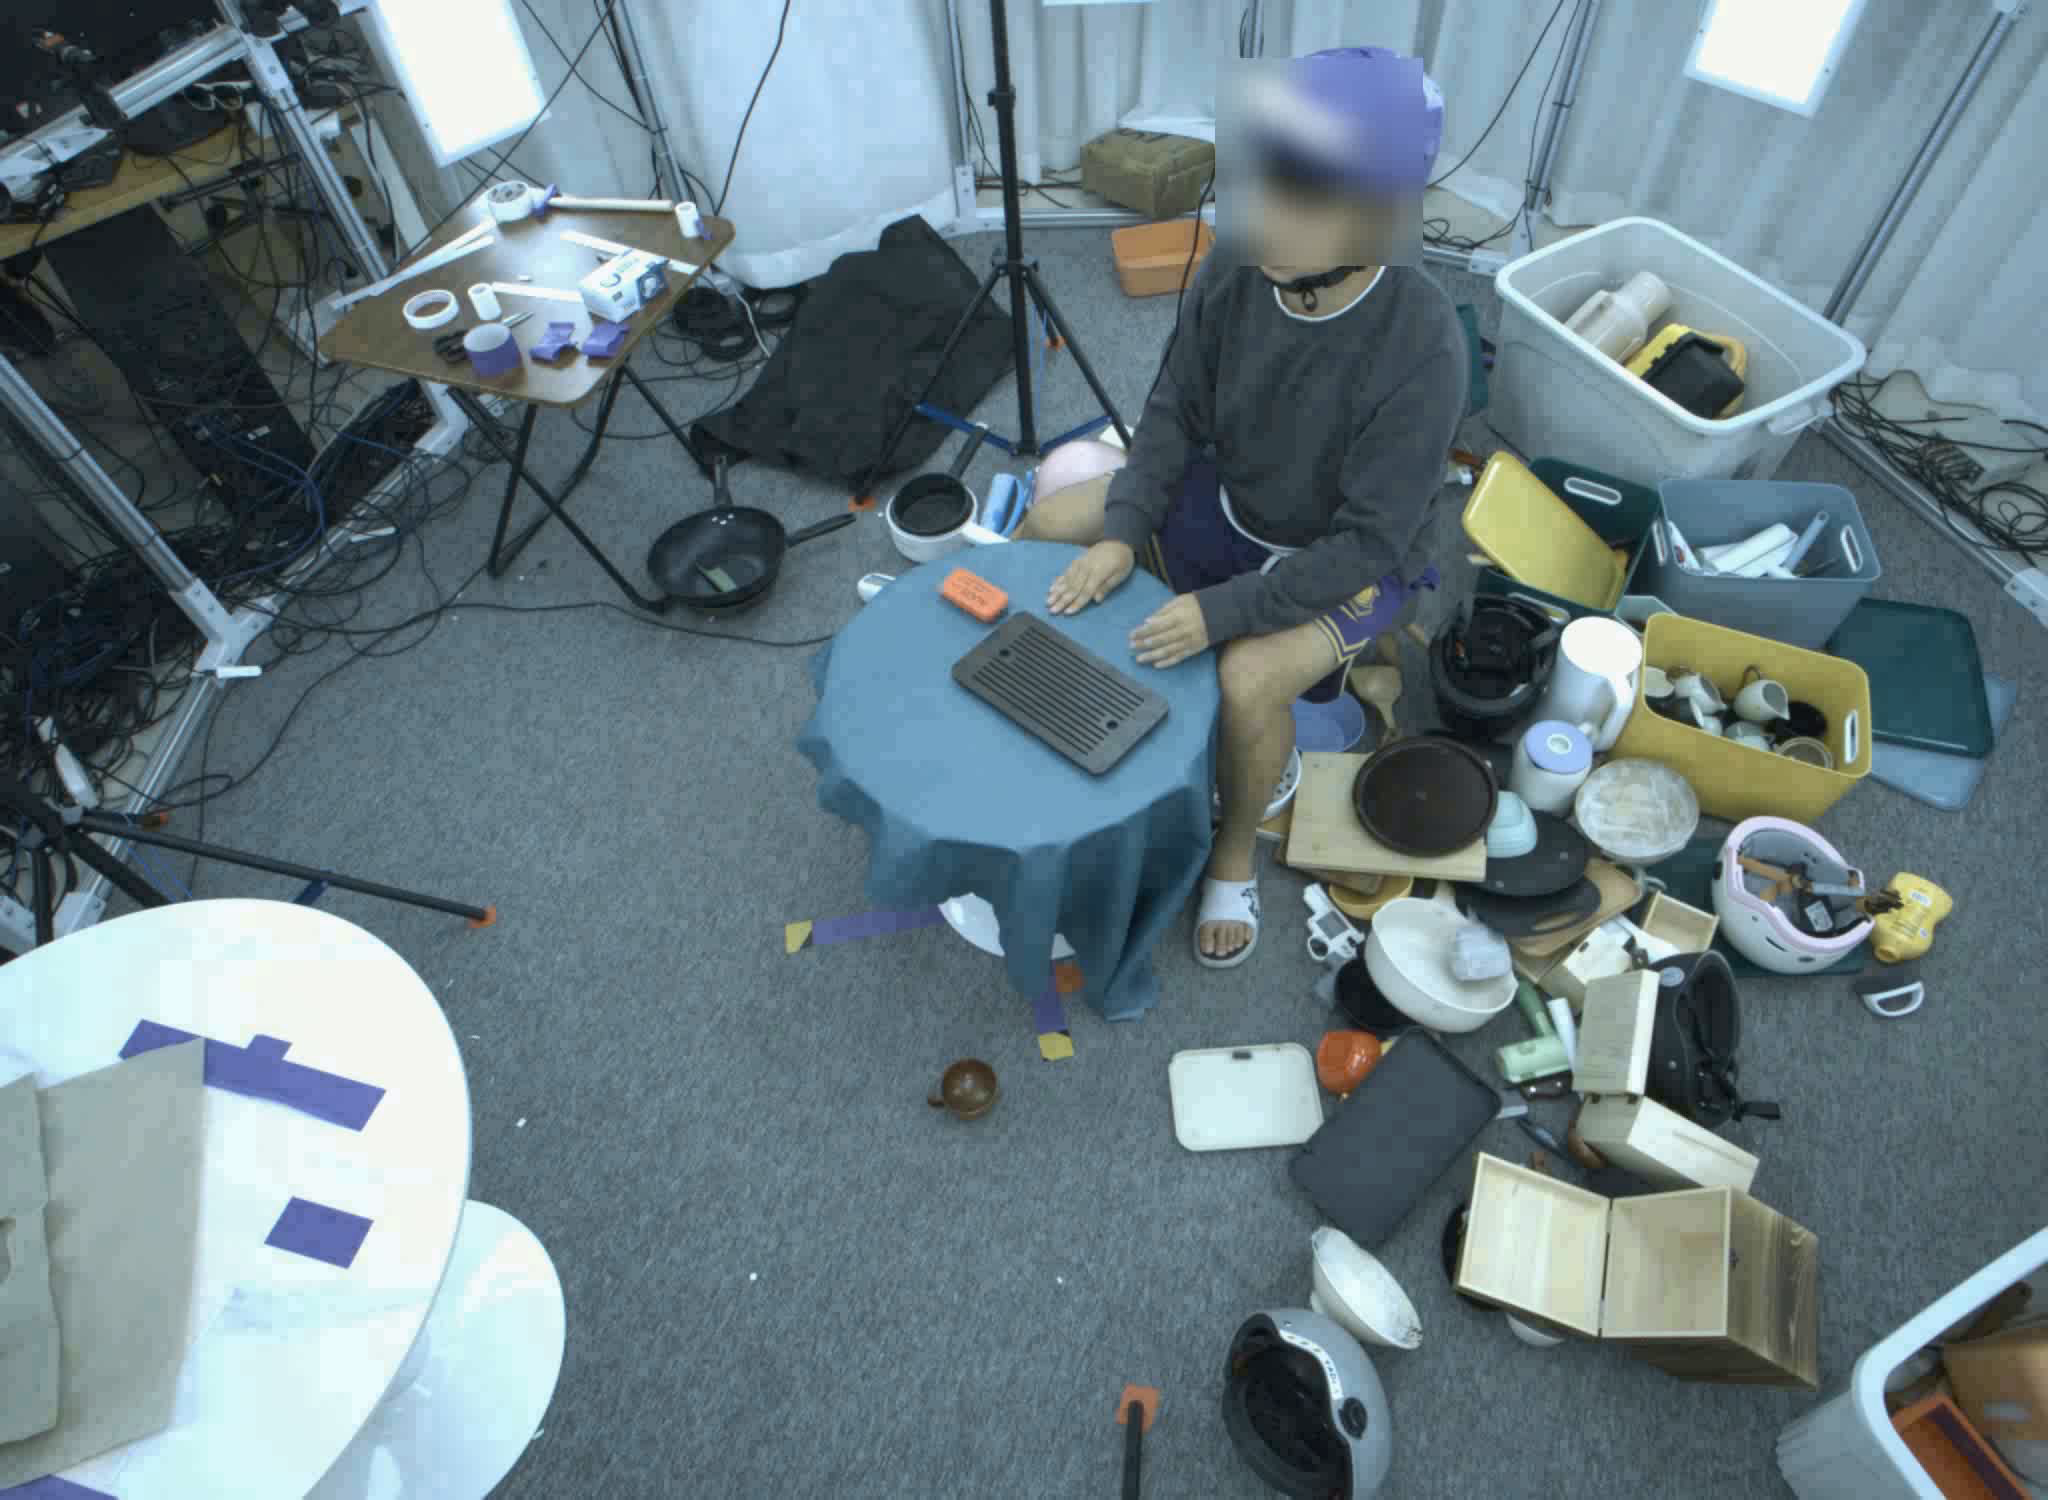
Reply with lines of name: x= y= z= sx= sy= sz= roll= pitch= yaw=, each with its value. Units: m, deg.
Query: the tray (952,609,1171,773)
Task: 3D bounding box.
tray: x=0.053 y=-0.091 z=1.842 sx=0.300 sy=0.019 sz=0.171 roll=35 pitch=63 yaw=24

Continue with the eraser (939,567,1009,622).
eraser: x=-0.080 y=-0.248 z=1.950 sx=0.106 sy=0.023 sz=0.059 roll=33 pitch=62 yaw=24
